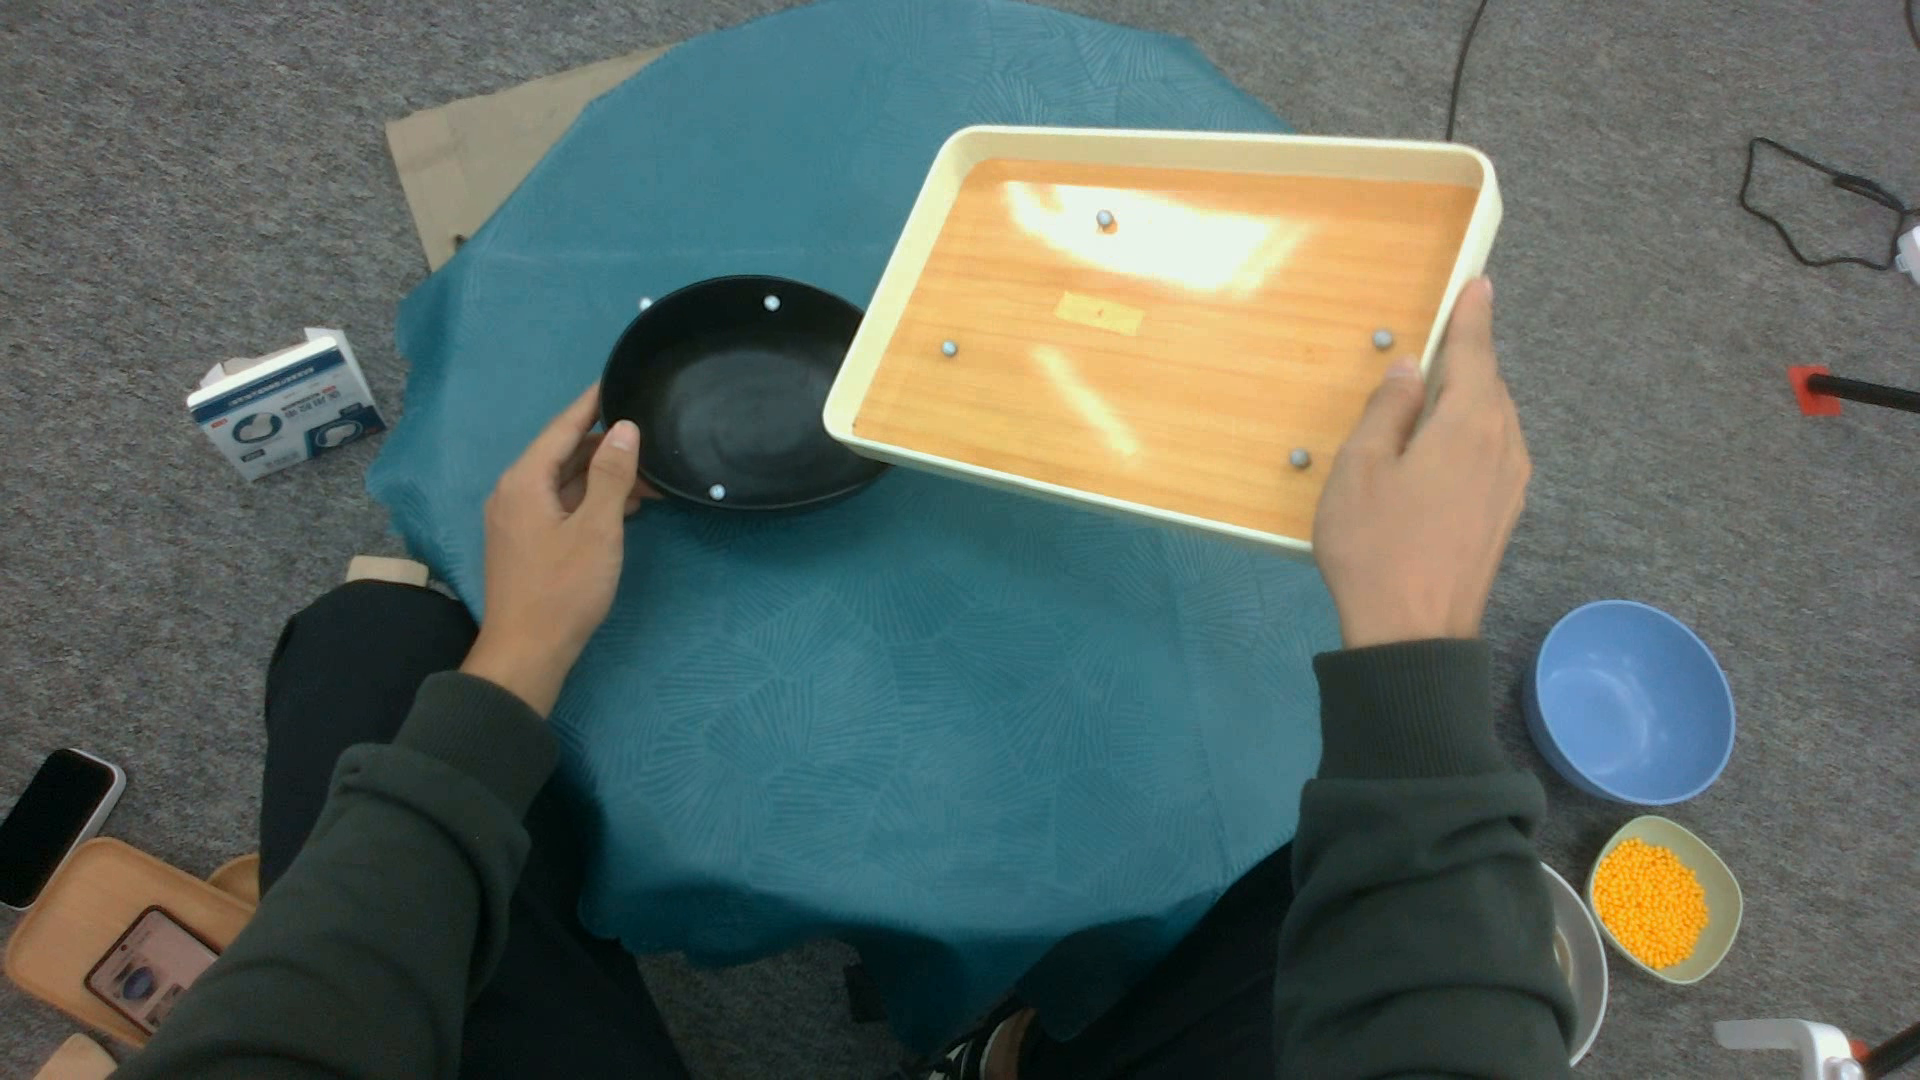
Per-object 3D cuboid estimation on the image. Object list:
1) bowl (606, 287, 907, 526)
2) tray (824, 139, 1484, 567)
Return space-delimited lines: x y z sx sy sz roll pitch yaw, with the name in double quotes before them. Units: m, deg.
"bowl" -0.107 -0.066 0.760 0.170 0.066 0.137 -4 71 -14
"tray" 0.082 -0.104 0.675 0.300 0.027 0.192 15 76 35
